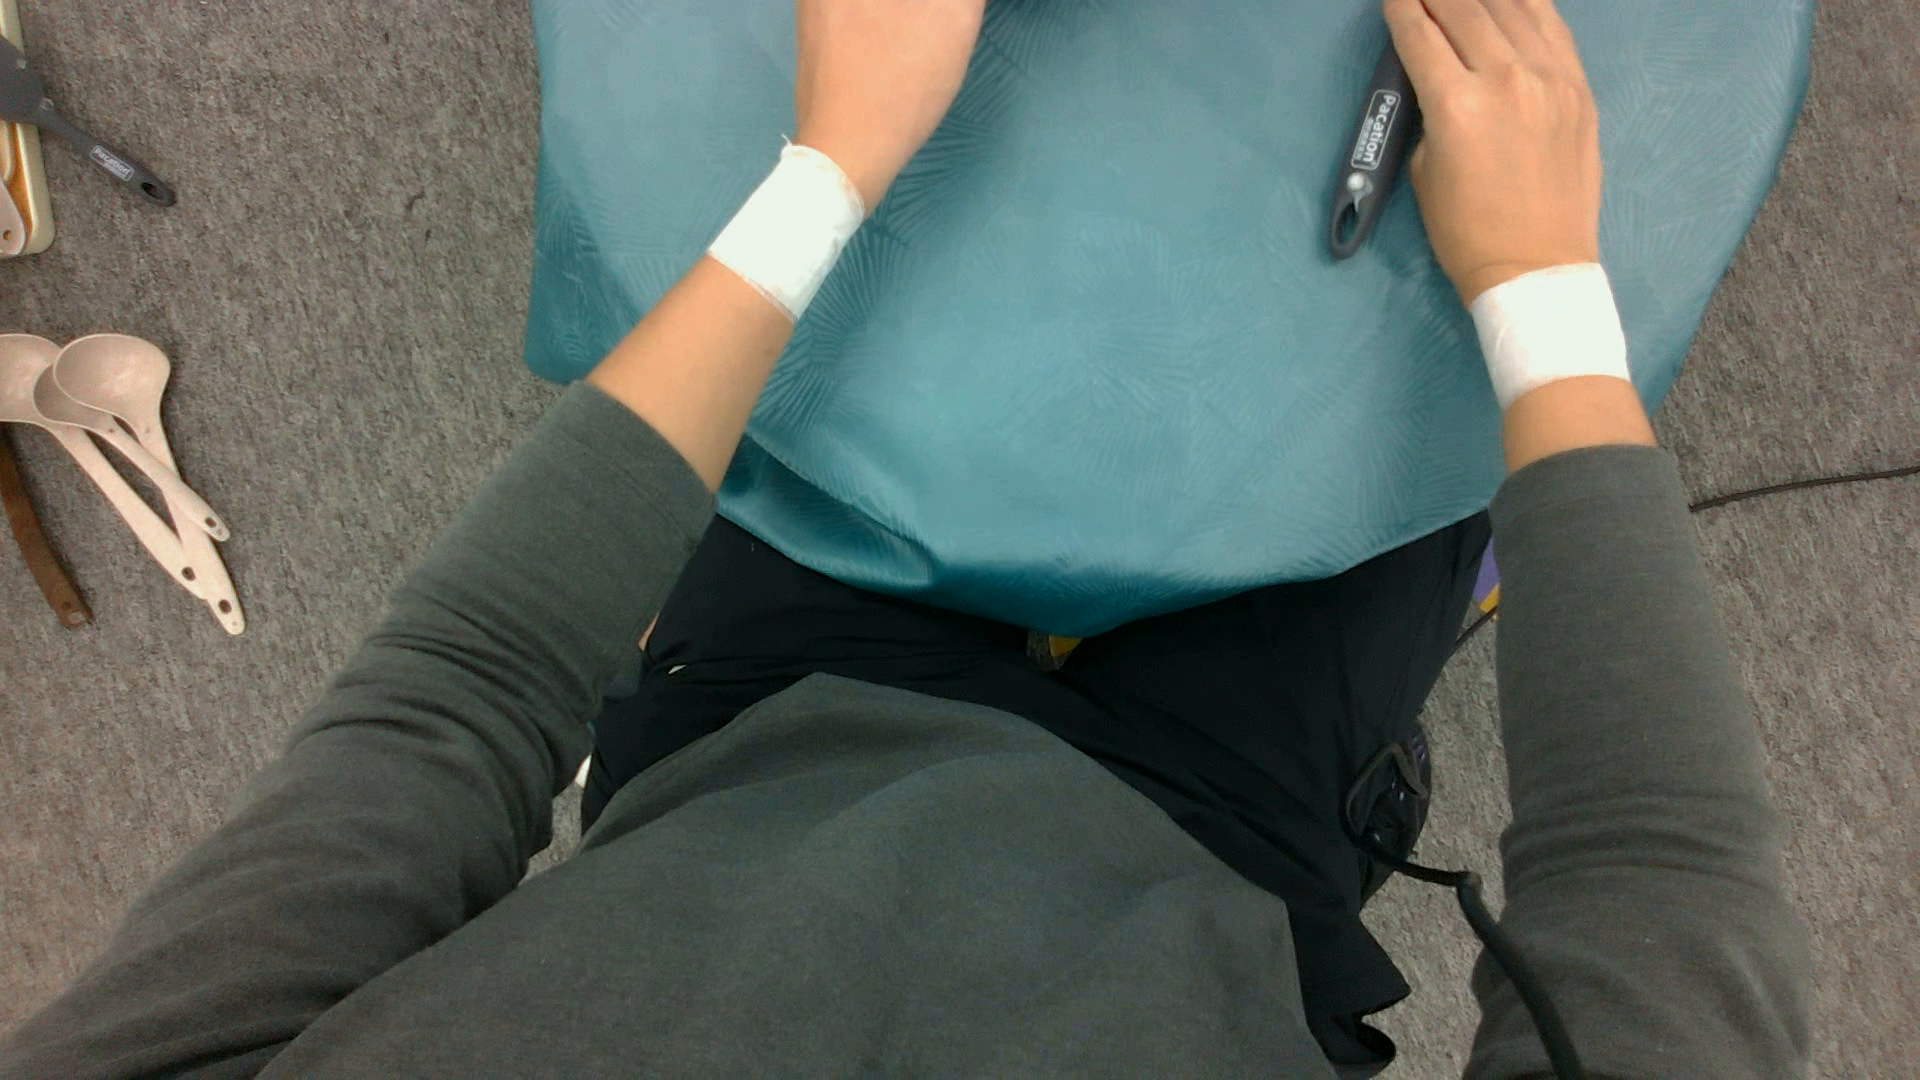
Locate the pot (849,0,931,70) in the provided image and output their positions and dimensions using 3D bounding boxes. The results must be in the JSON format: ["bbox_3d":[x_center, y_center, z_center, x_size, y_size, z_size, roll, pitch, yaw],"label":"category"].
[{"bbox_3d":[0.011,-0.320,0.577,0.179,0.136,0.233,22,92,1],"label":"pot"}]

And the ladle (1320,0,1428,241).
[{"bbox_3d":[0.211,-0.290,0.612,0.086,0.064,0.314,18,92,20],"label":"ladle"}]
